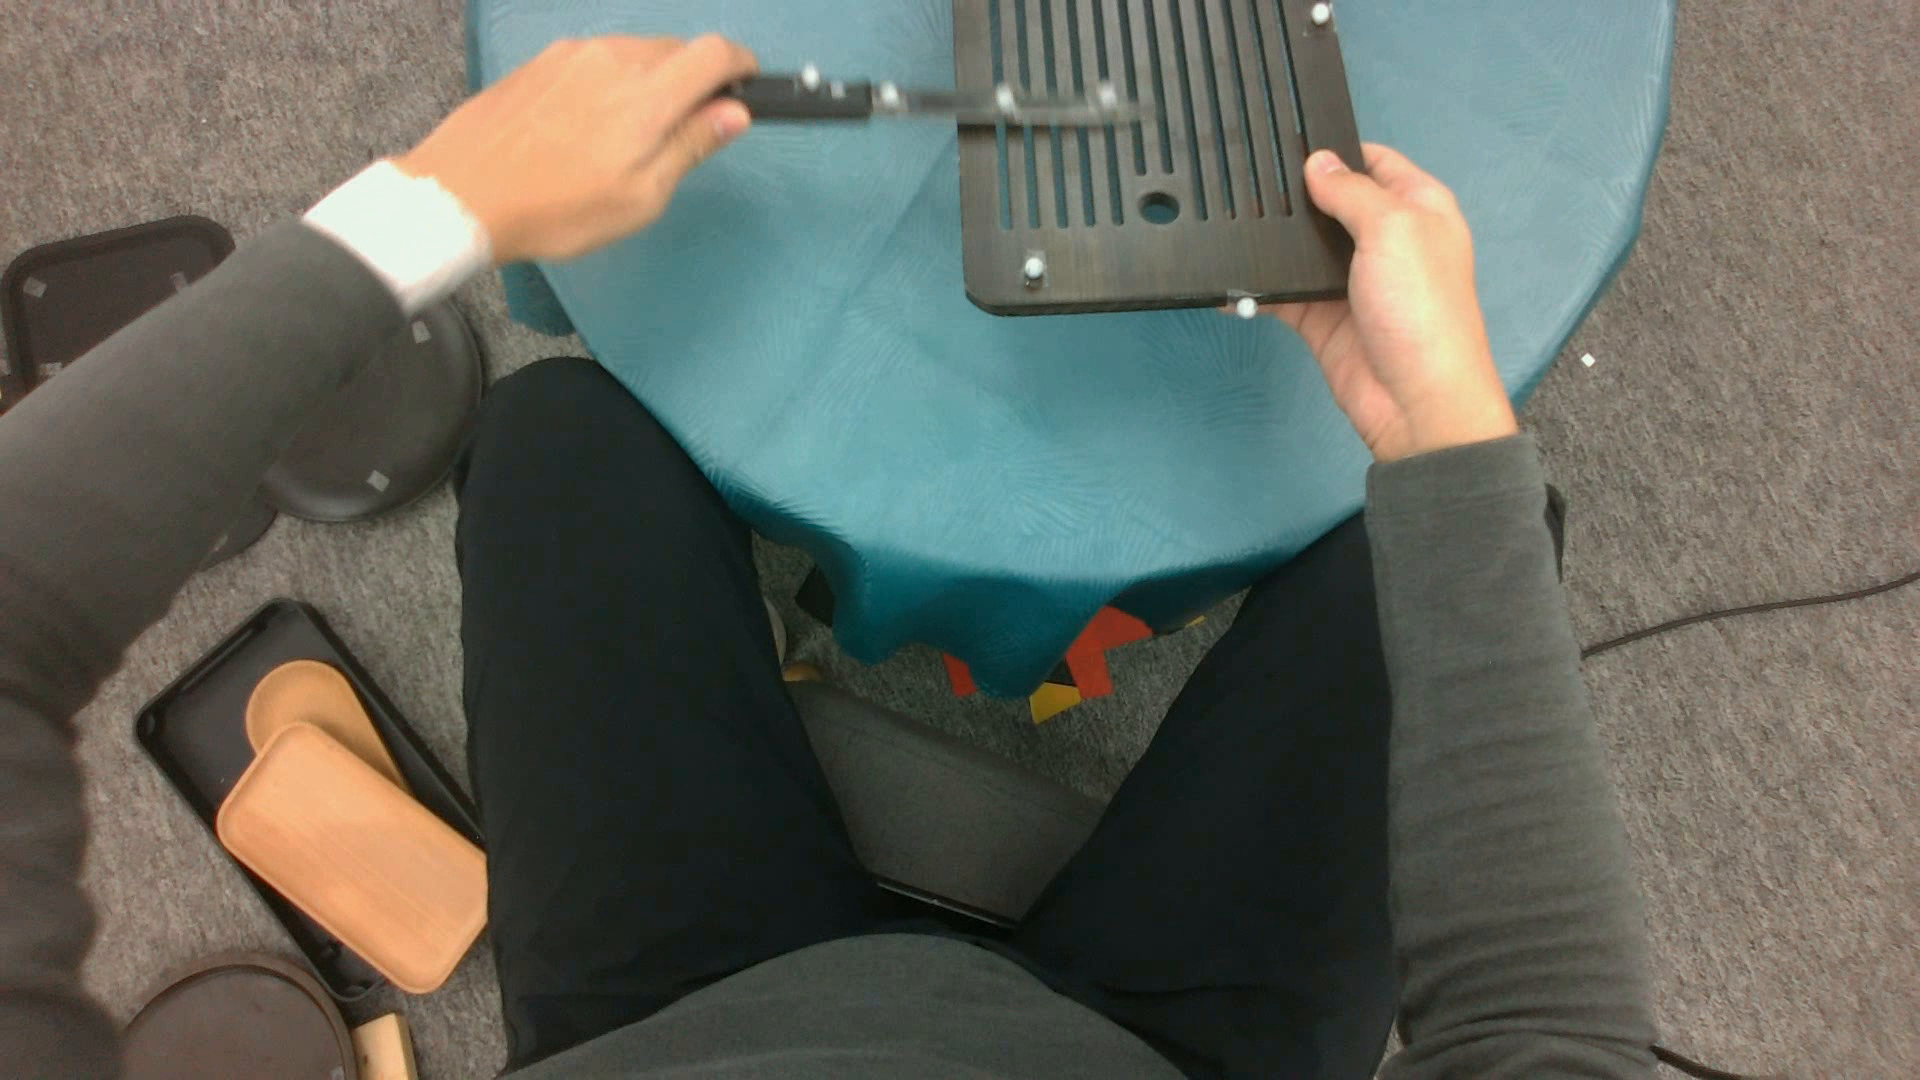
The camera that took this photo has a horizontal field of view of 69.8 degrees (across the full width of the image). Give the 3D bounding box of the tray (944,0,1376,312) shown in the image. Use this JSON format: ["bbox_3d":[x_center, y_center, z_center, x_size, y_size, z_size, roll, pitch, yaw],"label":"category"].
[{"bbox_3d":[0.078,-0.232,0.629,0.170,0.018,0.307,-3,63,0],"label":"tray"}]

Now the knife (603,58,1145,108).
[{"bbox_3d":[-0.037,-0.200,0.601,0.238,0.016,0.024,-1,50,-2],"label":"knife"}]
